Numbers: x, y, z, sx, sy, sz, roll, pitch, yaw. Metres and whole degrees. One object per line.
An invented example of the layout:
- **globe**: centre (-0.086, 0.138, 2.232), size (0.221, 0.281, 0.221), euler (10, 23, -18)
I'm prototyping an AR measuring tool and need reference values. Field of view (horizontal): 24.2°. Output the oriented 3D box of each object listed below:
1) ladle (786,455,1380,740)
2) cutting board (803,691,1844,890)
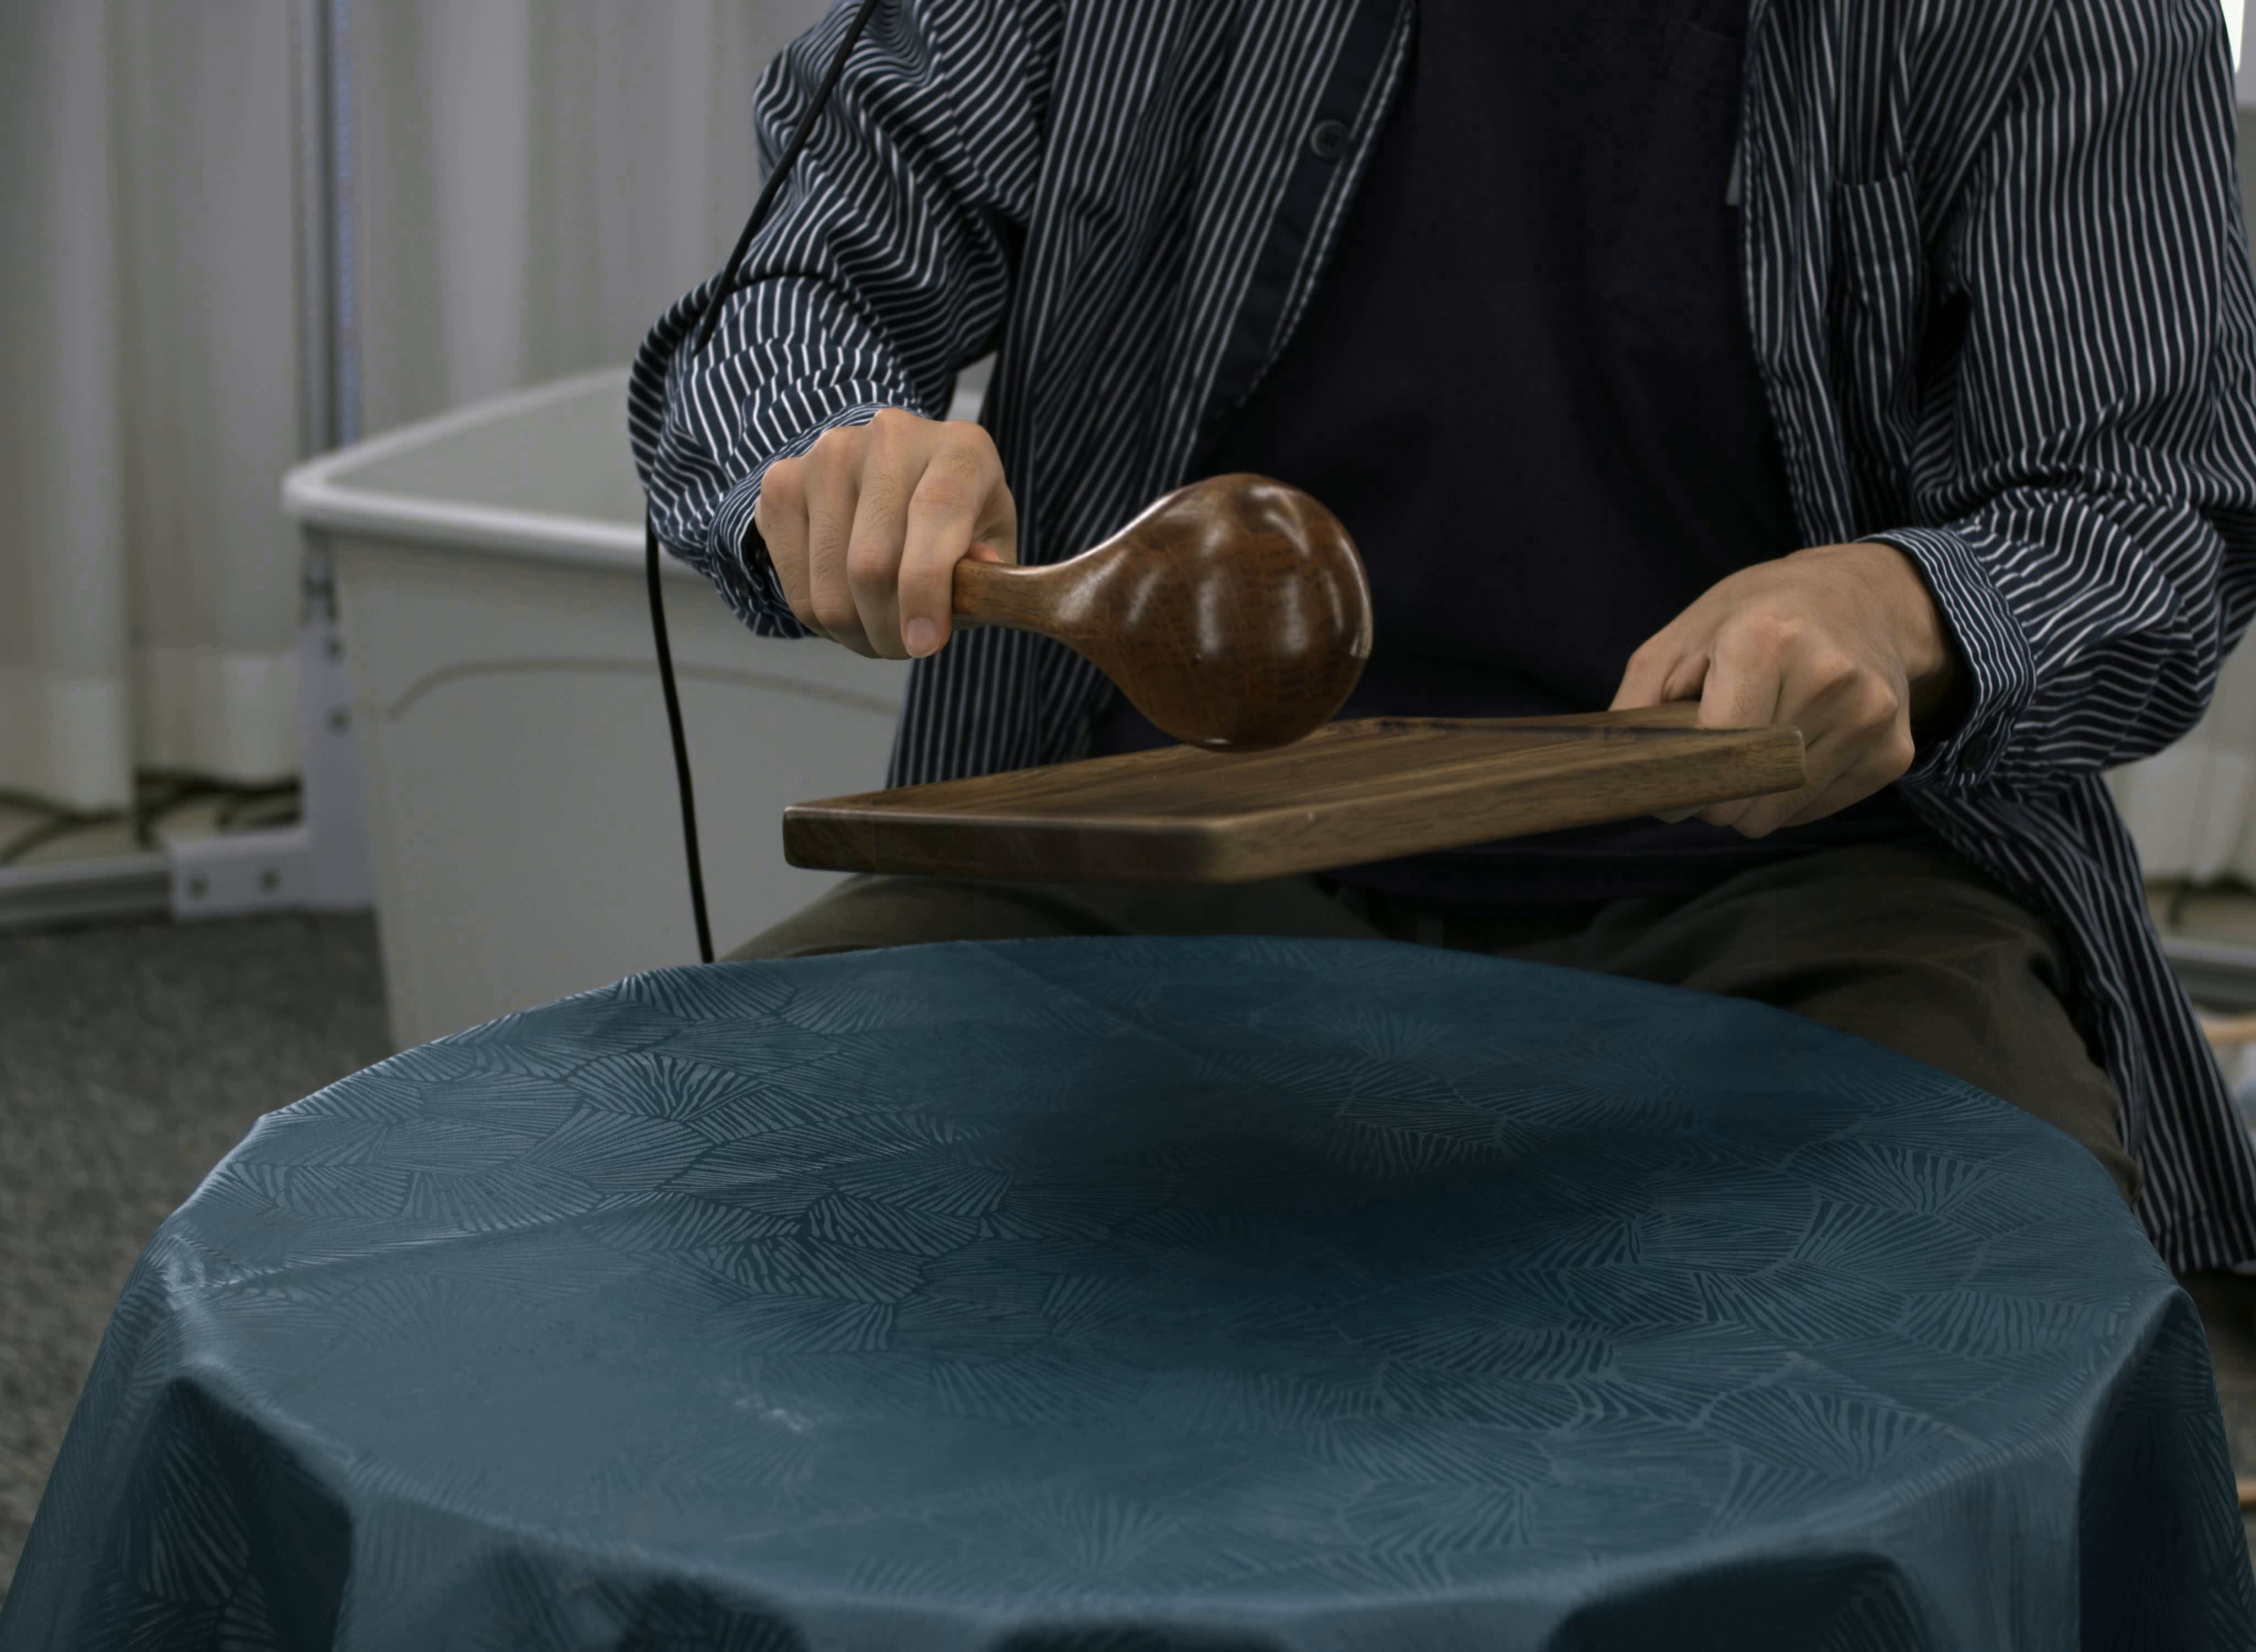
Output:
- **ladle**: centre (-0.016, -0.073, 1.606), size (0.077, 0.082, 0.271), euler (9, 0, -27)
- **cutting board**: centre (0.095, -0.014, 1.607), size (0.354, 0.023, 0.199), euler (-9, 7, -40)
